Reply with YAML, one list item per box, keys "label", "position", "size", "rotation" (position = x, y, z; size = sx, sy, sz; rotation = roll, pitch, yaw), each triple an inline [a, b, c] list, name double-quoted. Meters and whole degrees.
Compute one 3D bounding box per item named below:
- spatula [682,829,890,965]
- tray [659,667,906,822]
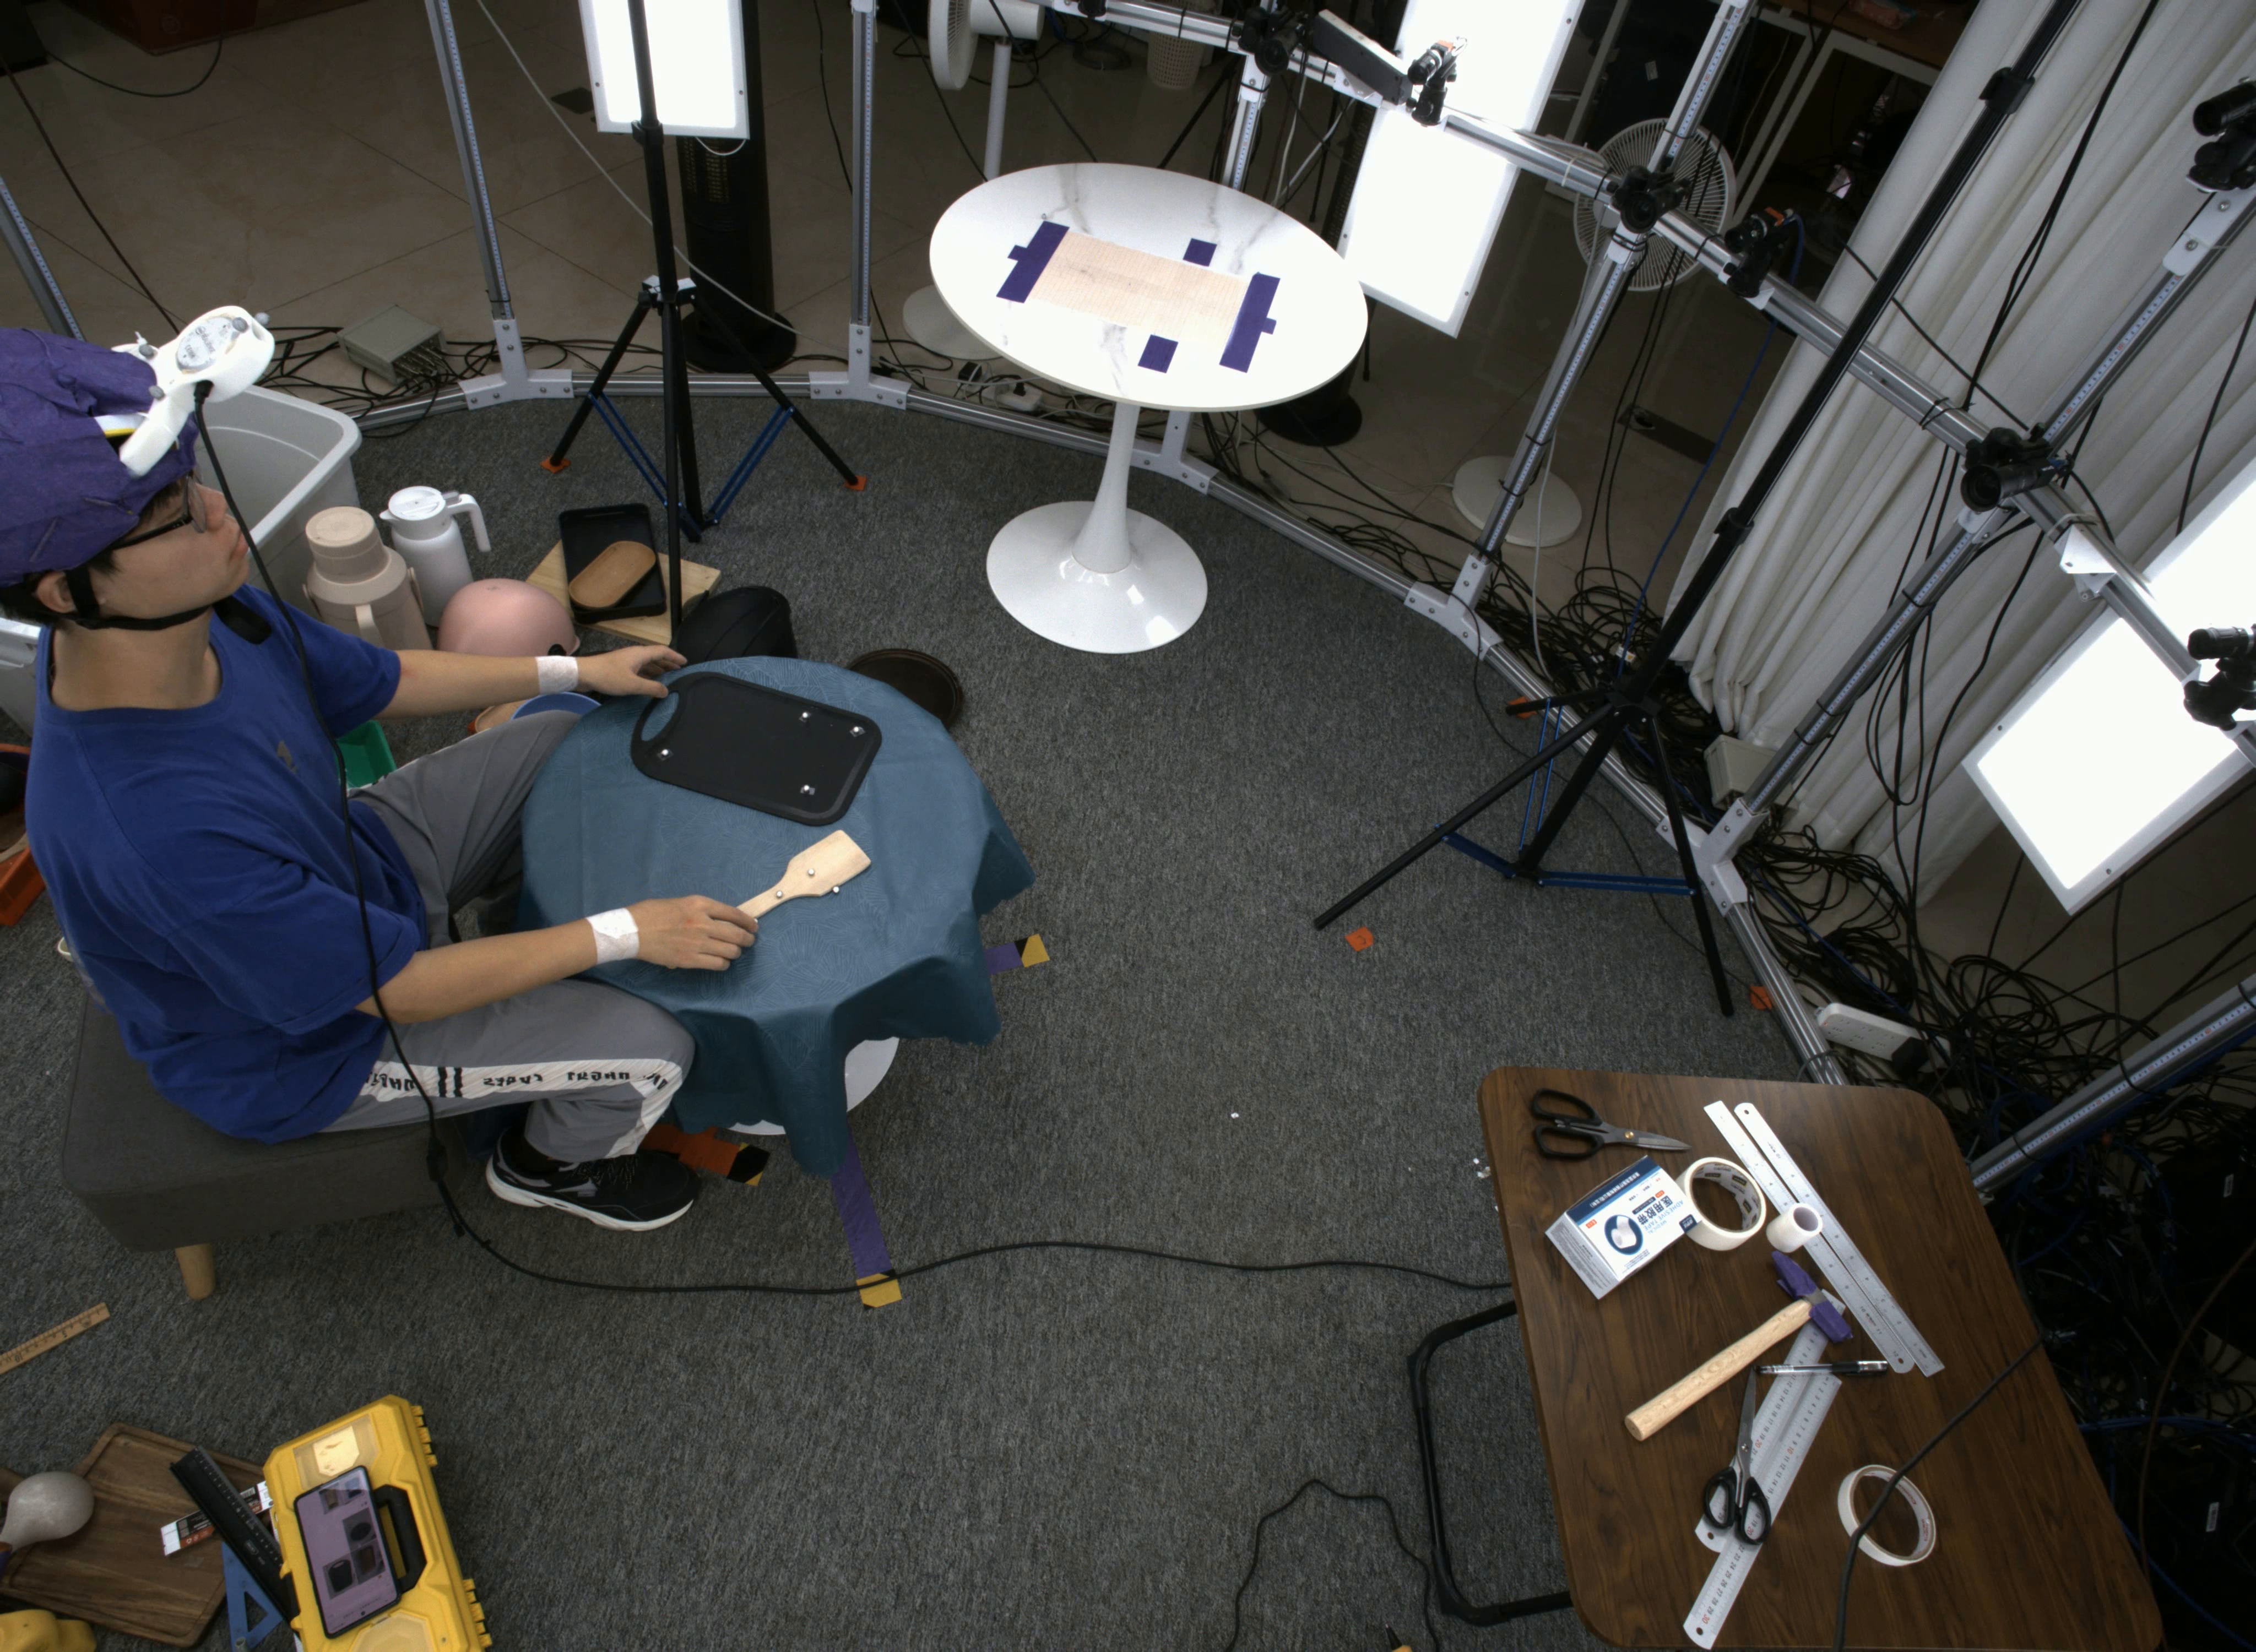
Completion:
- label: "spatula"
  position: [-0.438, 0.094, 1.655]
  size: [0.294, 0.011, 0.071]
  rotation: [-33, 69, -32]
- label: "tray"
  position: [-0.487, -0.120, 1.803]
  size: [0.322, 0.010, 0.209]
  rotation: [19, 52, 0]
